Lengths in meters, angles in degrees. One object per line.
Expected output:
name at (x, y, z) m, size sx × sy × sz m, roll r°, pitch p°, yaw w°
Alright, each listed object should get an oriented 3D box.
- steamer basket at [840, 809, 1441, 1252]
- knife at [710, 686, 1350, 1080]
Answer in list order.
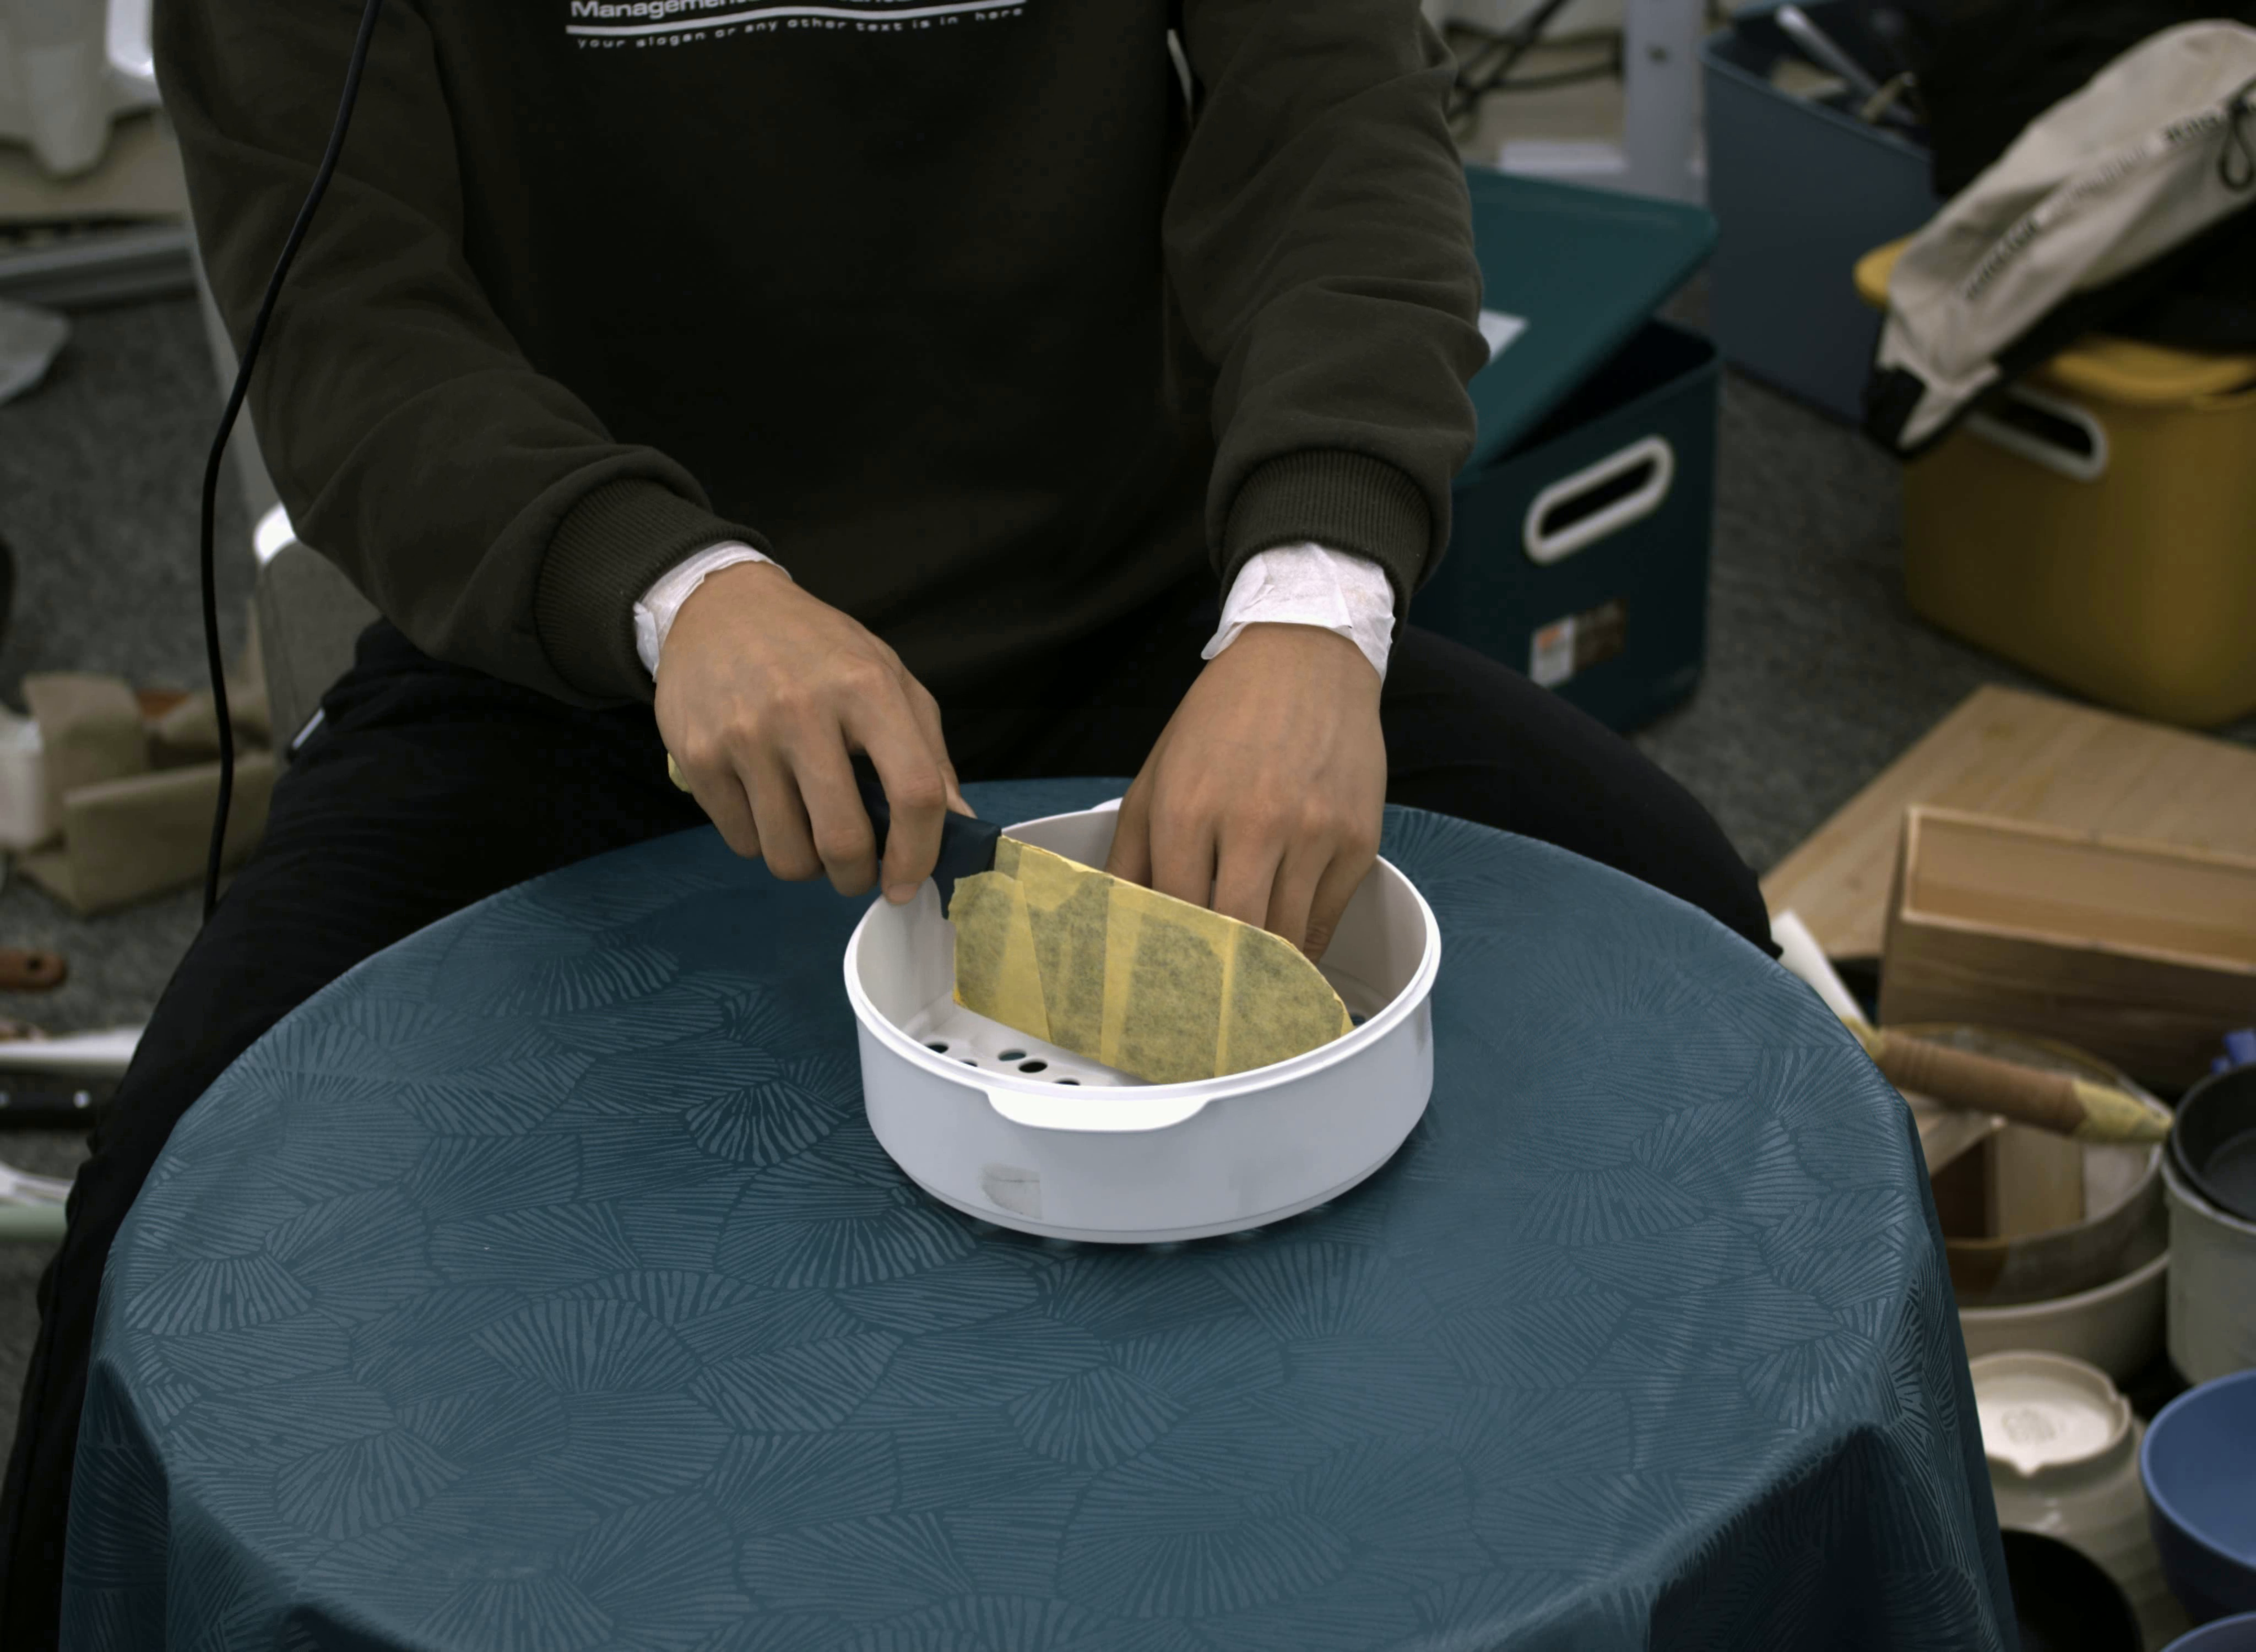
steamer basket at (0.005, 0.070, 1.889) m, size 0.200 × 0.068 × 0.234 m, roll 3°, pitch 26°, yaw 9°
knife at (-0.033, 0.026, 1.909) m, size 0.289 × 0.080 × 0.027 m, roll 29°, pitch 31°, yaw 29°
